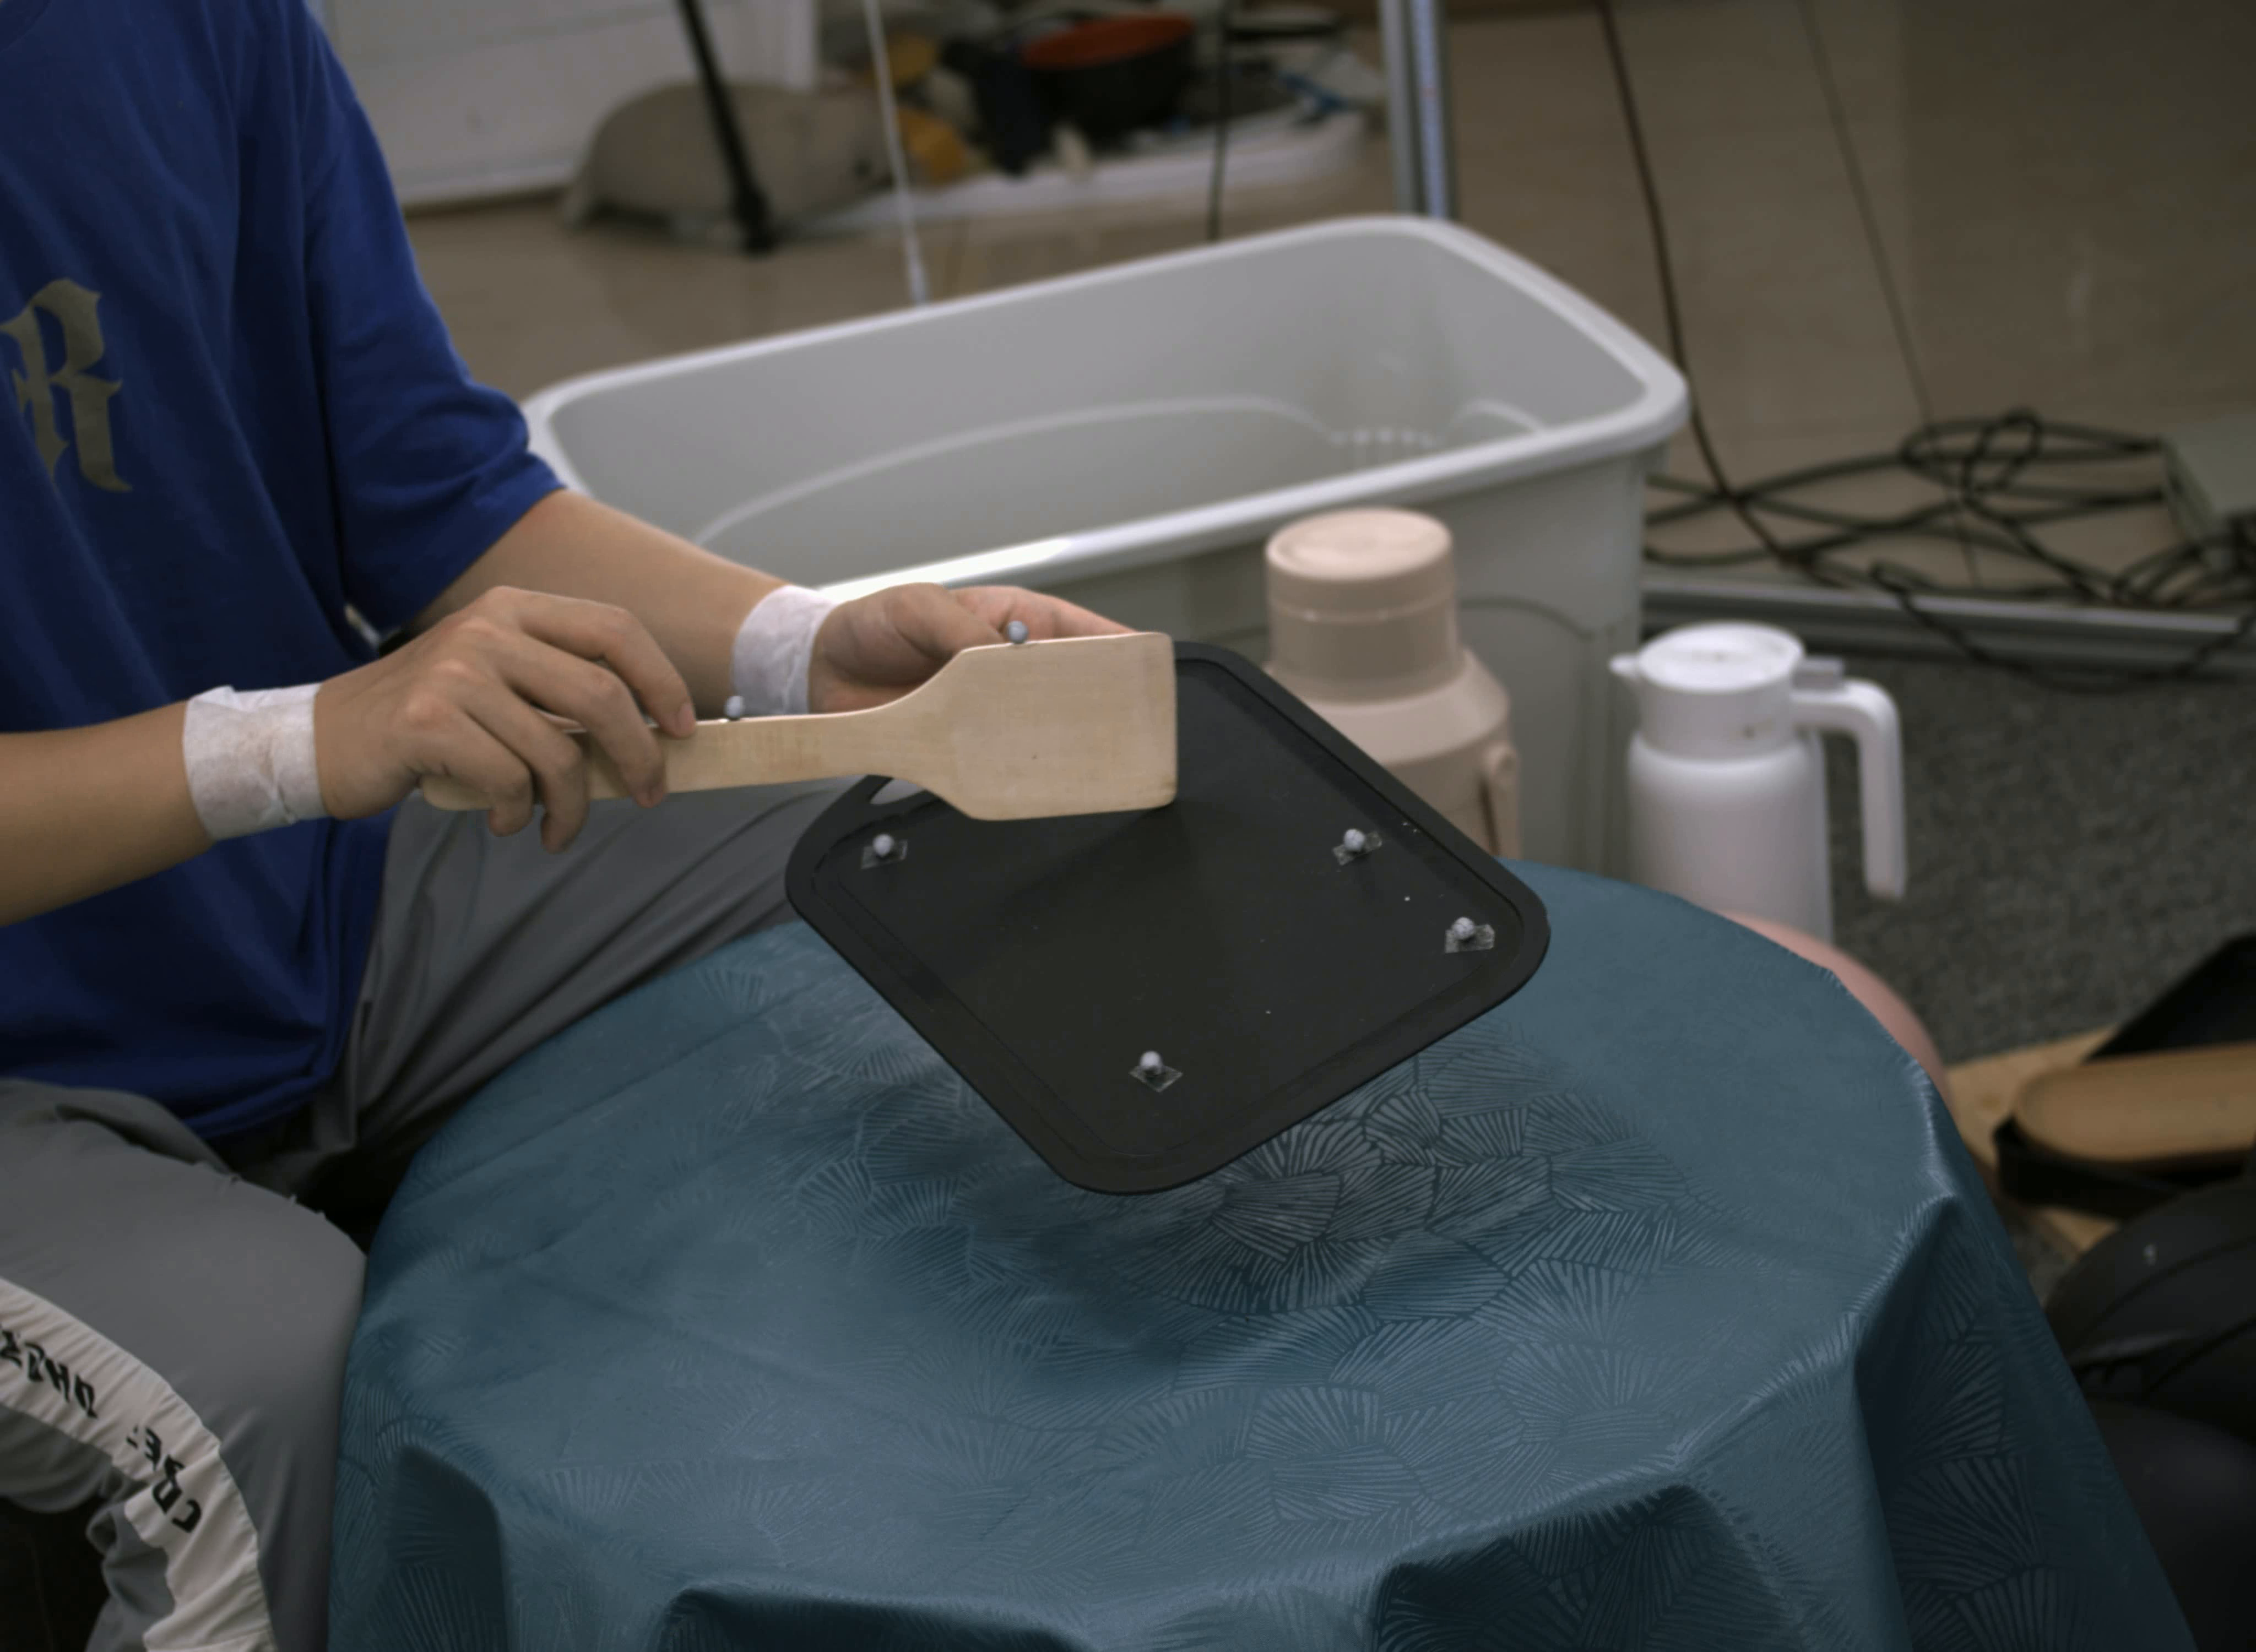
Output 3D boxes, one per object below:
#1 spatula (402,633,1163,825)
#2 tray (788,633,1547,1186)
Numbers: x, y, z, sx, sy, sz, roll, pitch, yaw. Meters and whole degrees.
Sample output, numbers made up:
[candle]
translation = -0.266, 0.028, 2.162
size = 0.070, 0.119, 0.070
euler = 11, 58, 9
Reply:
[spatula]
translation = -0.129, -0.030, 2.145
size = 0.292, 0.073, 0.010
euler = -4, 19, -12
[tray]
translation = 0.005, 0.022, 2.153
size = 0.210, 0.010, 0.321
euler = -30, 38, -14
